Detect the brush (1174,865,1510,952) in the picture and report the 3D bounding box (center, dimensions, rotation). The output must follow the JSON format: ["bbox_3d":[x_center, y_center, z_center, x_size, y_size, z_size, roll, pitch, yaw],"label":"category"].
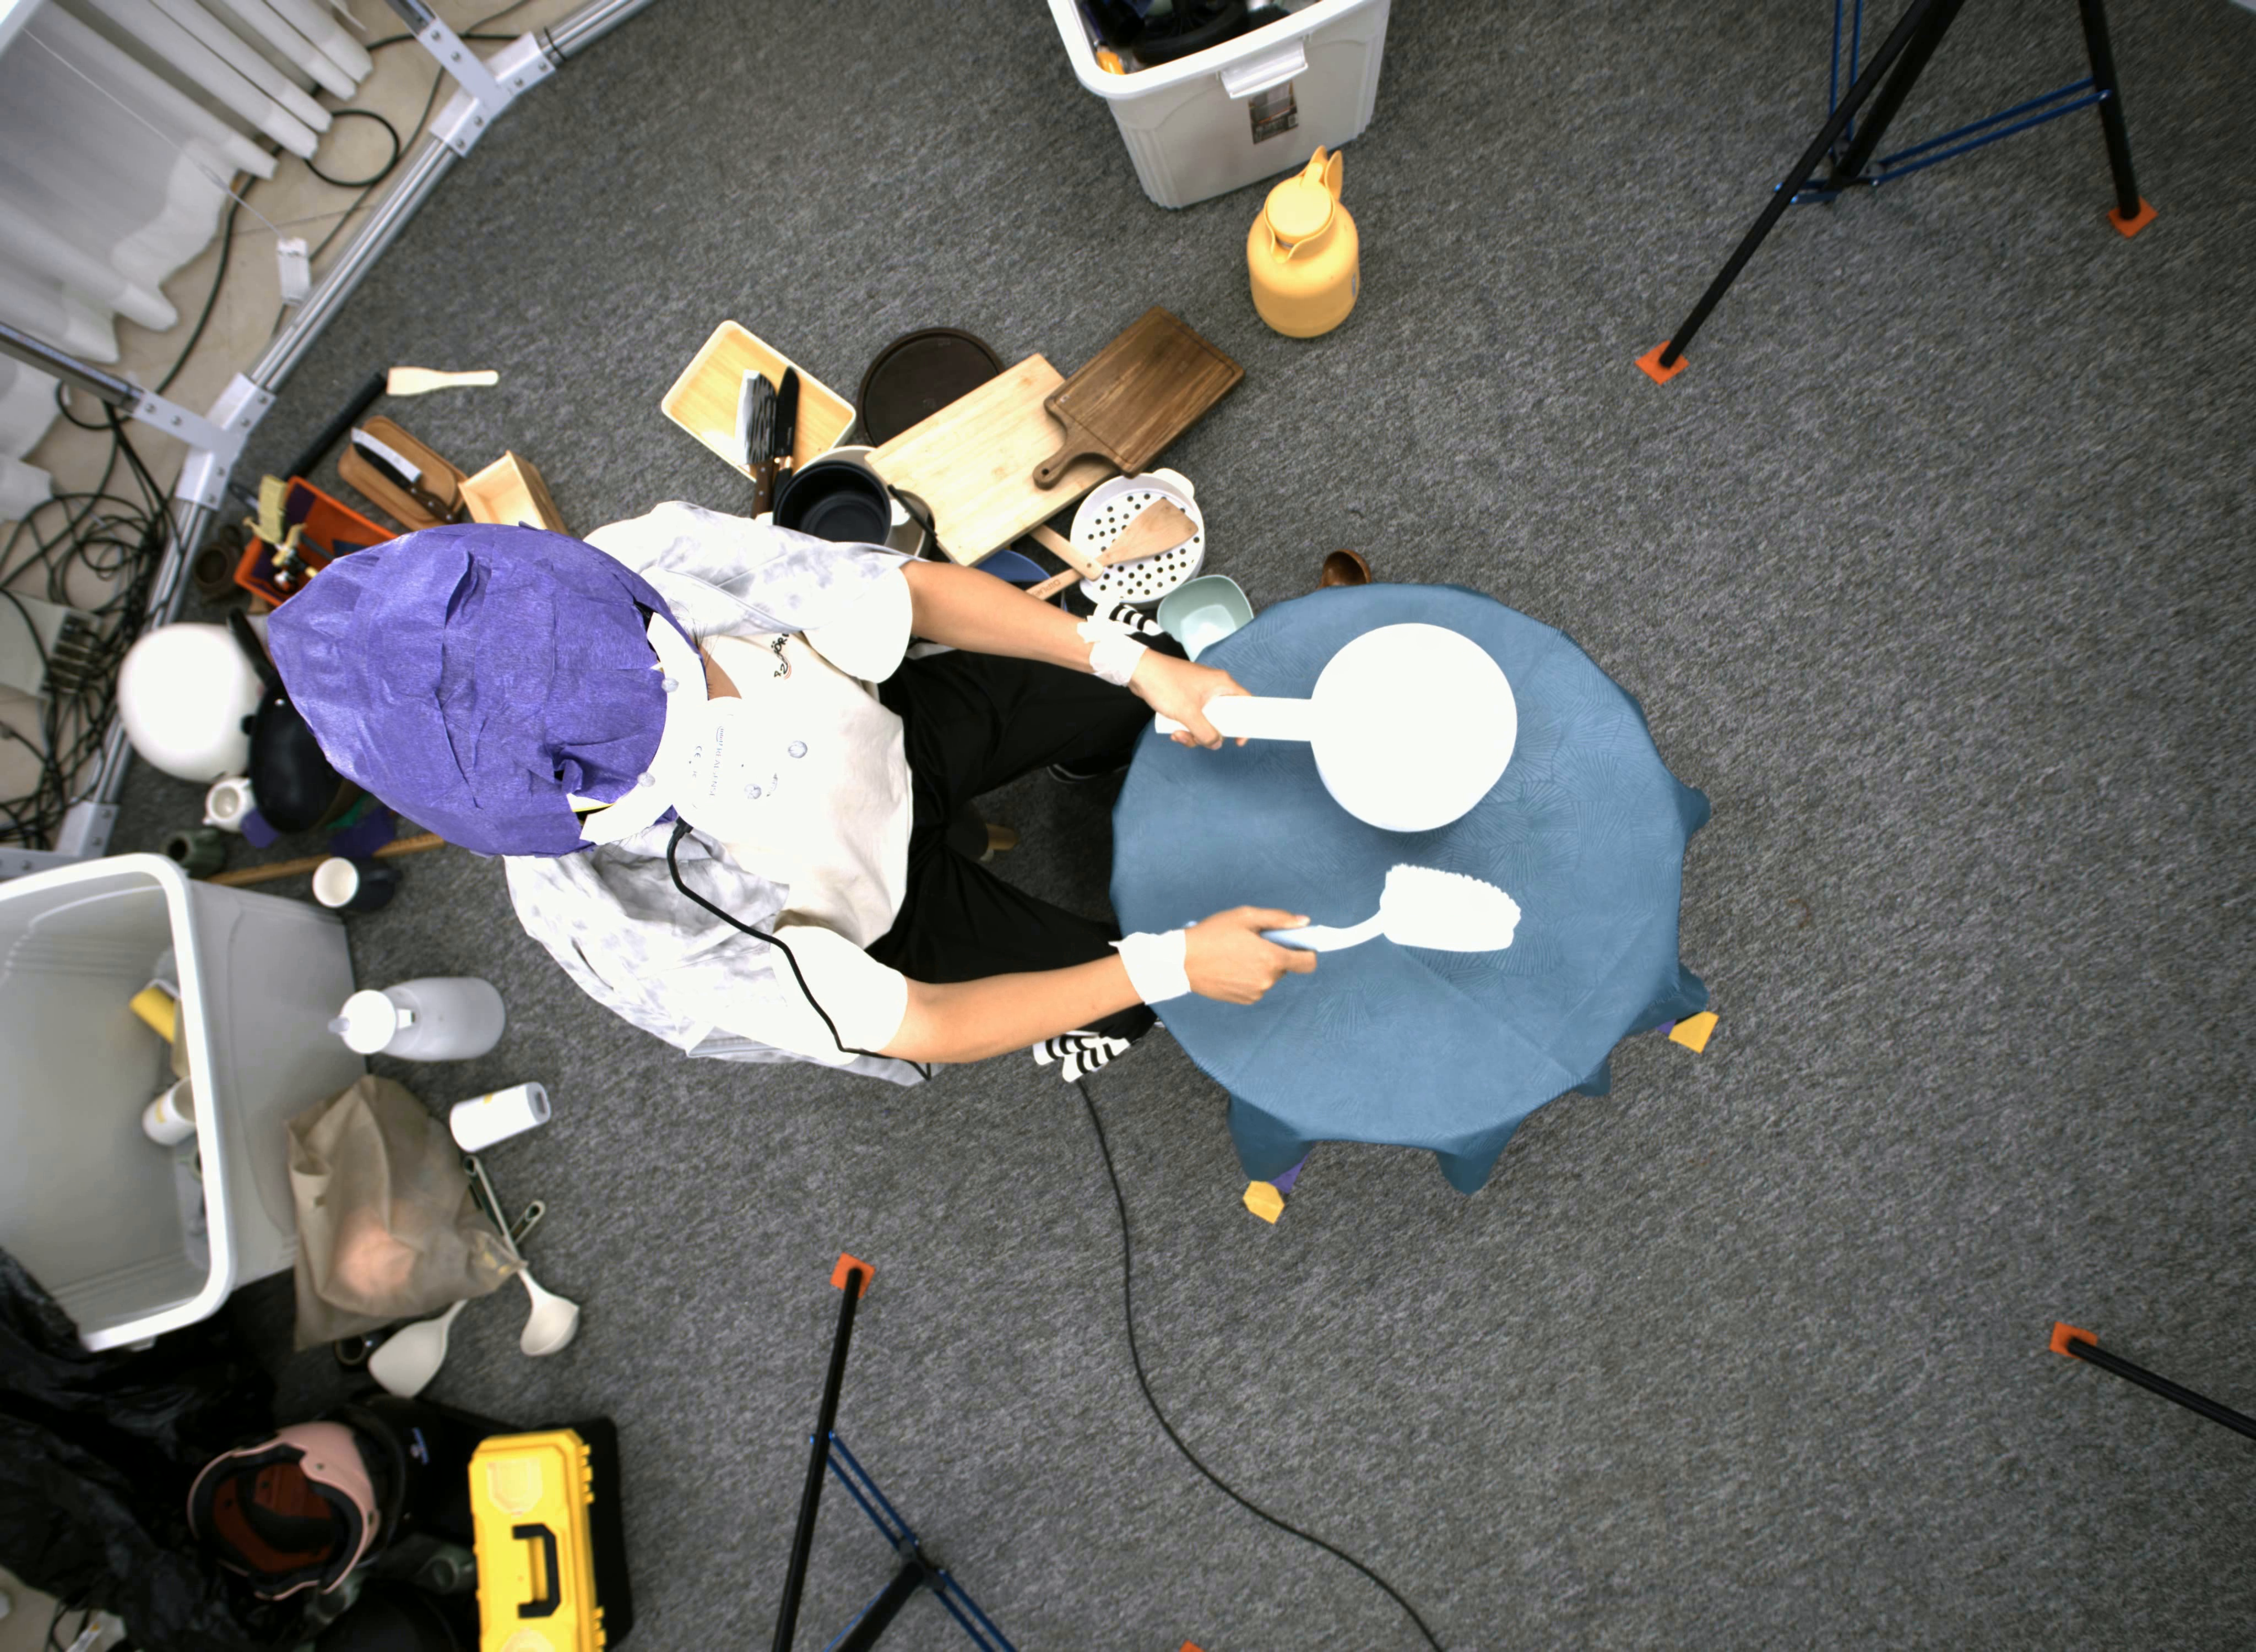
[{"bbox_3d":[0.208,0.079,1.358,0.327,0.084,0.083,0,94,15],"label":"brush"}]

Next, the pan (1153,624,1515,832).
[{"bbox_3d":[0.206,-0.098,1.398,0.356,0.103,0.199,3,81,9],"label":"pan"}]
